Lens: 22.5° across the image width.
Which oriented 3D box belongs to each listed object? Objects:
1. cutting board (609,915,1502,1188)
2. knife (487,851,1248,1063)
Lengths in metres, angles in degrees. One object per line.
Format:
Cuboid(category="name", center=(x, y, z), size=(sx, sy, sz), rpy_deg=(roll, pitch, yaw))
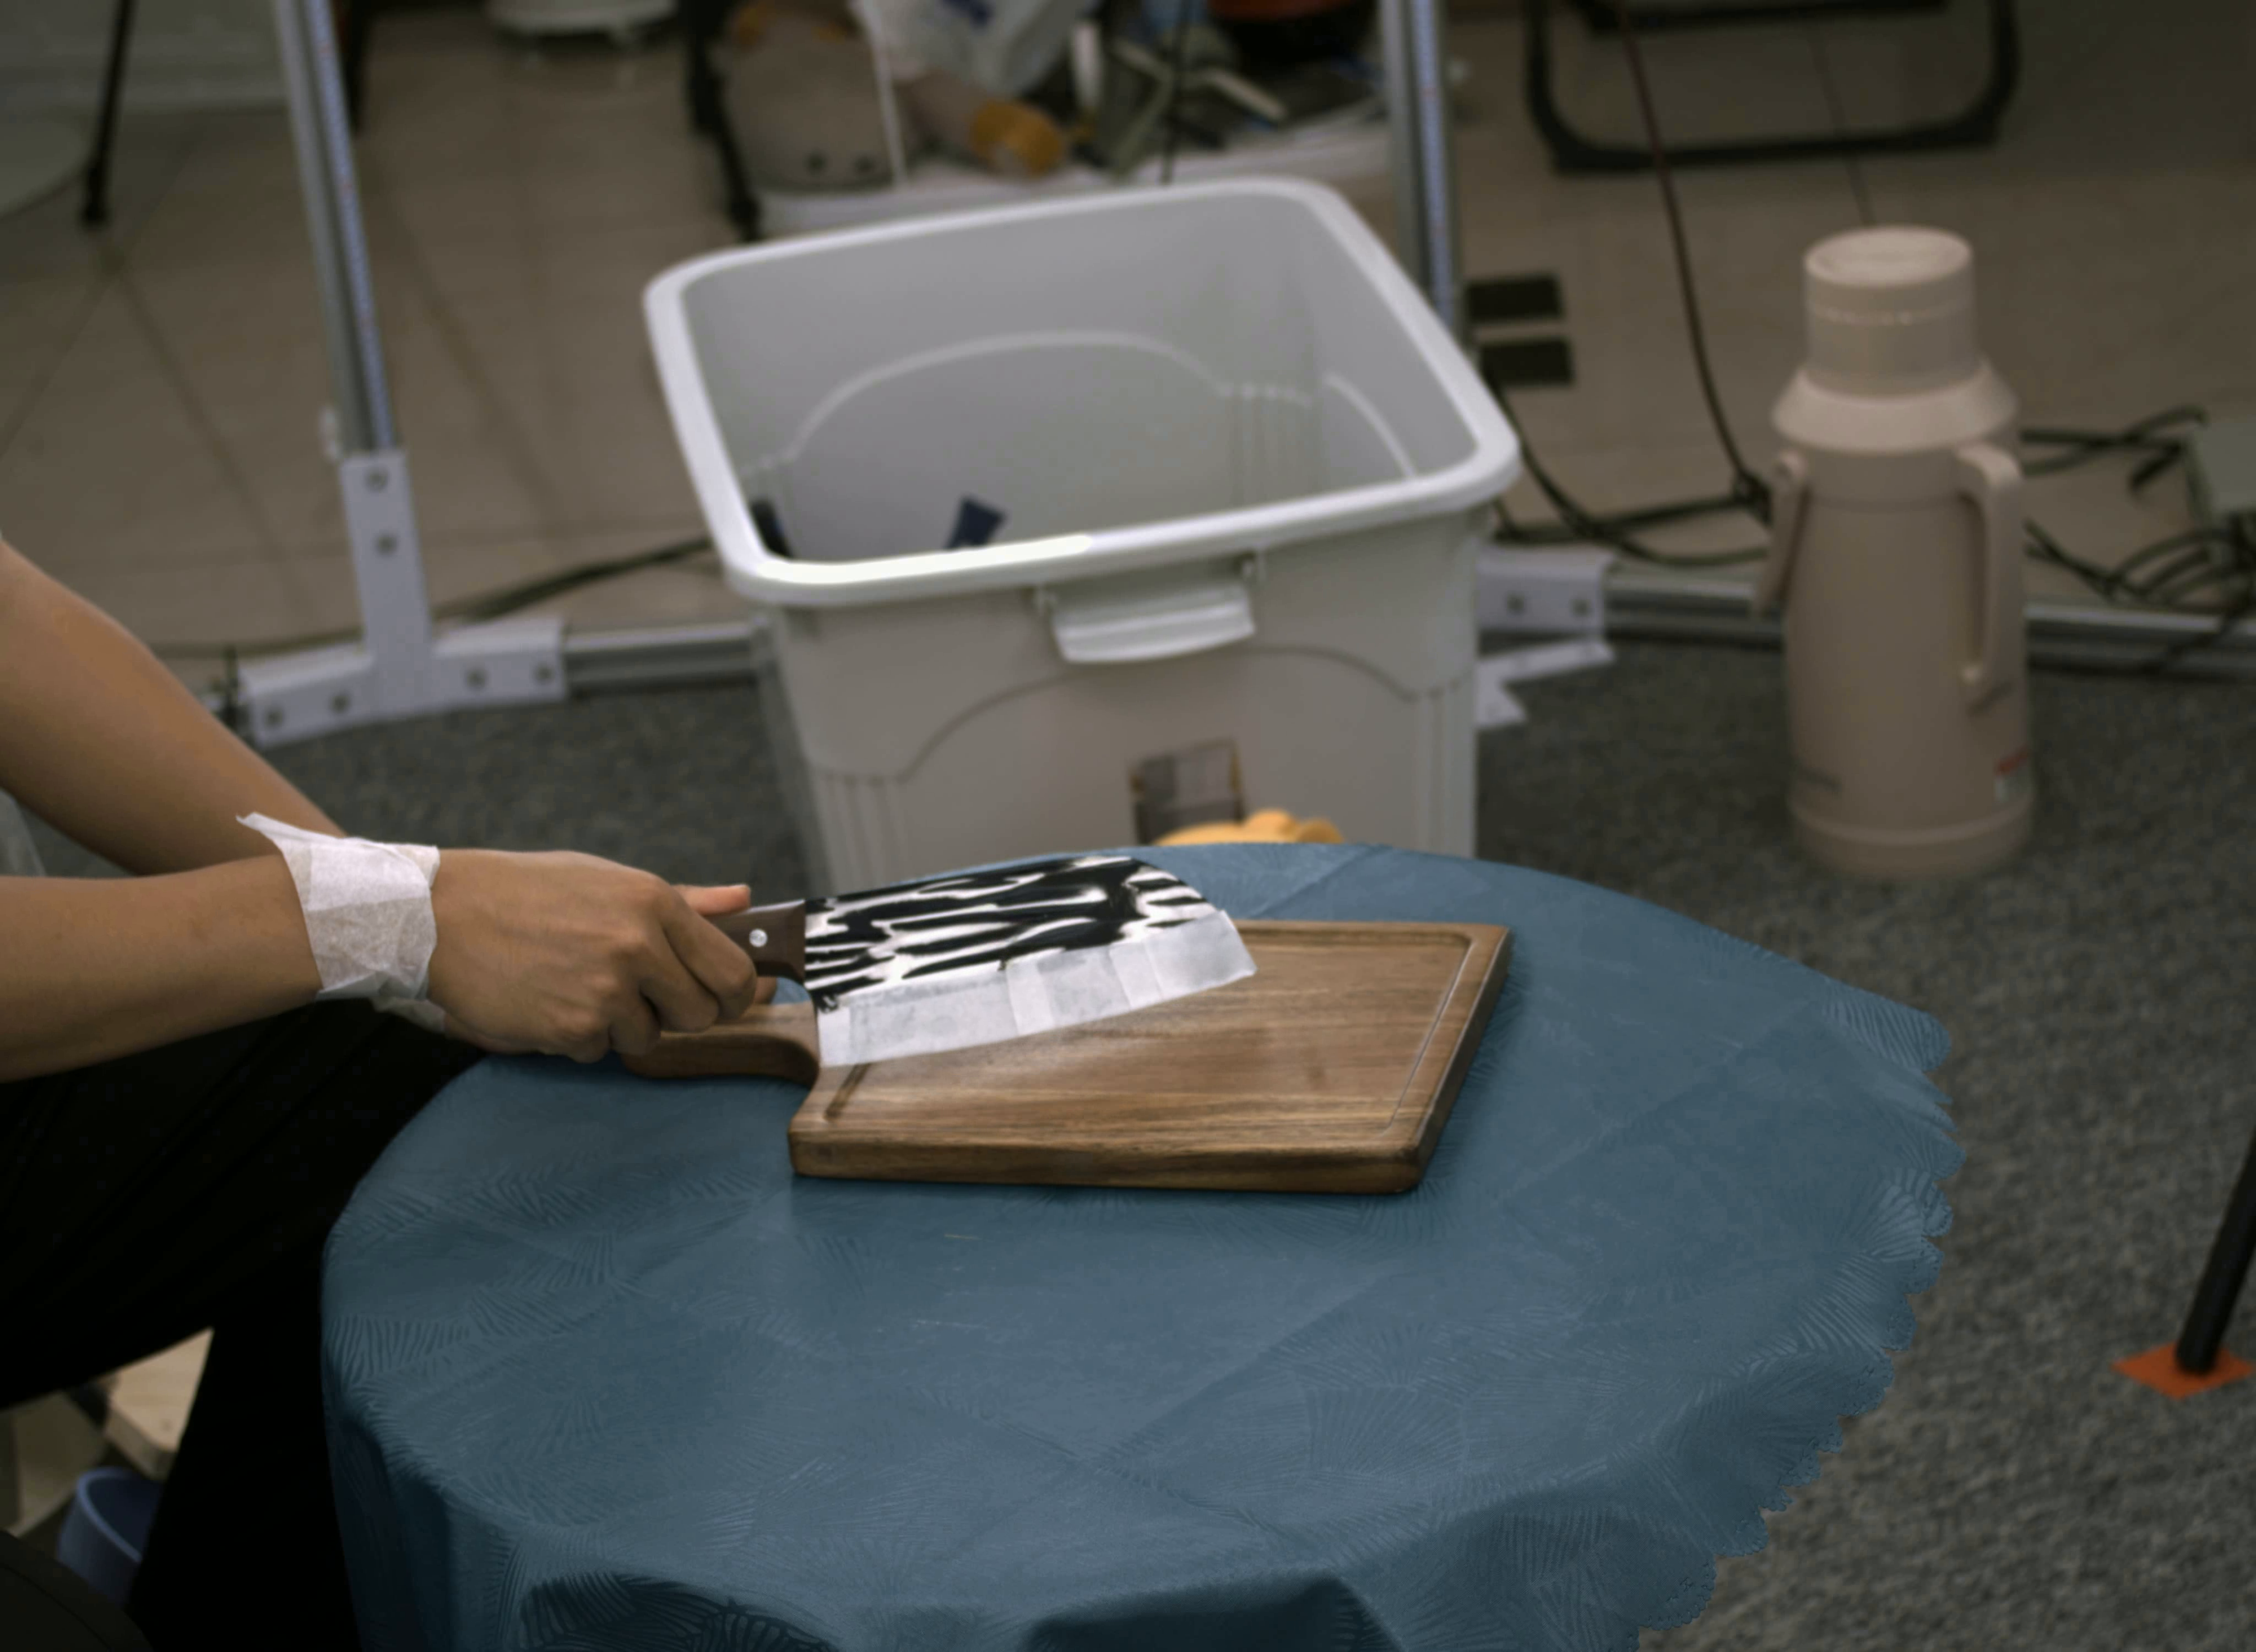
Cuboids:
Cuboid(category="cutting board", center=(-0.039, 0.085, 2.251), size=(0.351, 0.023, 0.198), rpy_deg=(1, 26, 16))
Cuboid(category="knife", center=(-0.099, 0.056, 2.215), size=(0.299, 0.068, 0.024), rpy_deg=(-8, -2, -13))
